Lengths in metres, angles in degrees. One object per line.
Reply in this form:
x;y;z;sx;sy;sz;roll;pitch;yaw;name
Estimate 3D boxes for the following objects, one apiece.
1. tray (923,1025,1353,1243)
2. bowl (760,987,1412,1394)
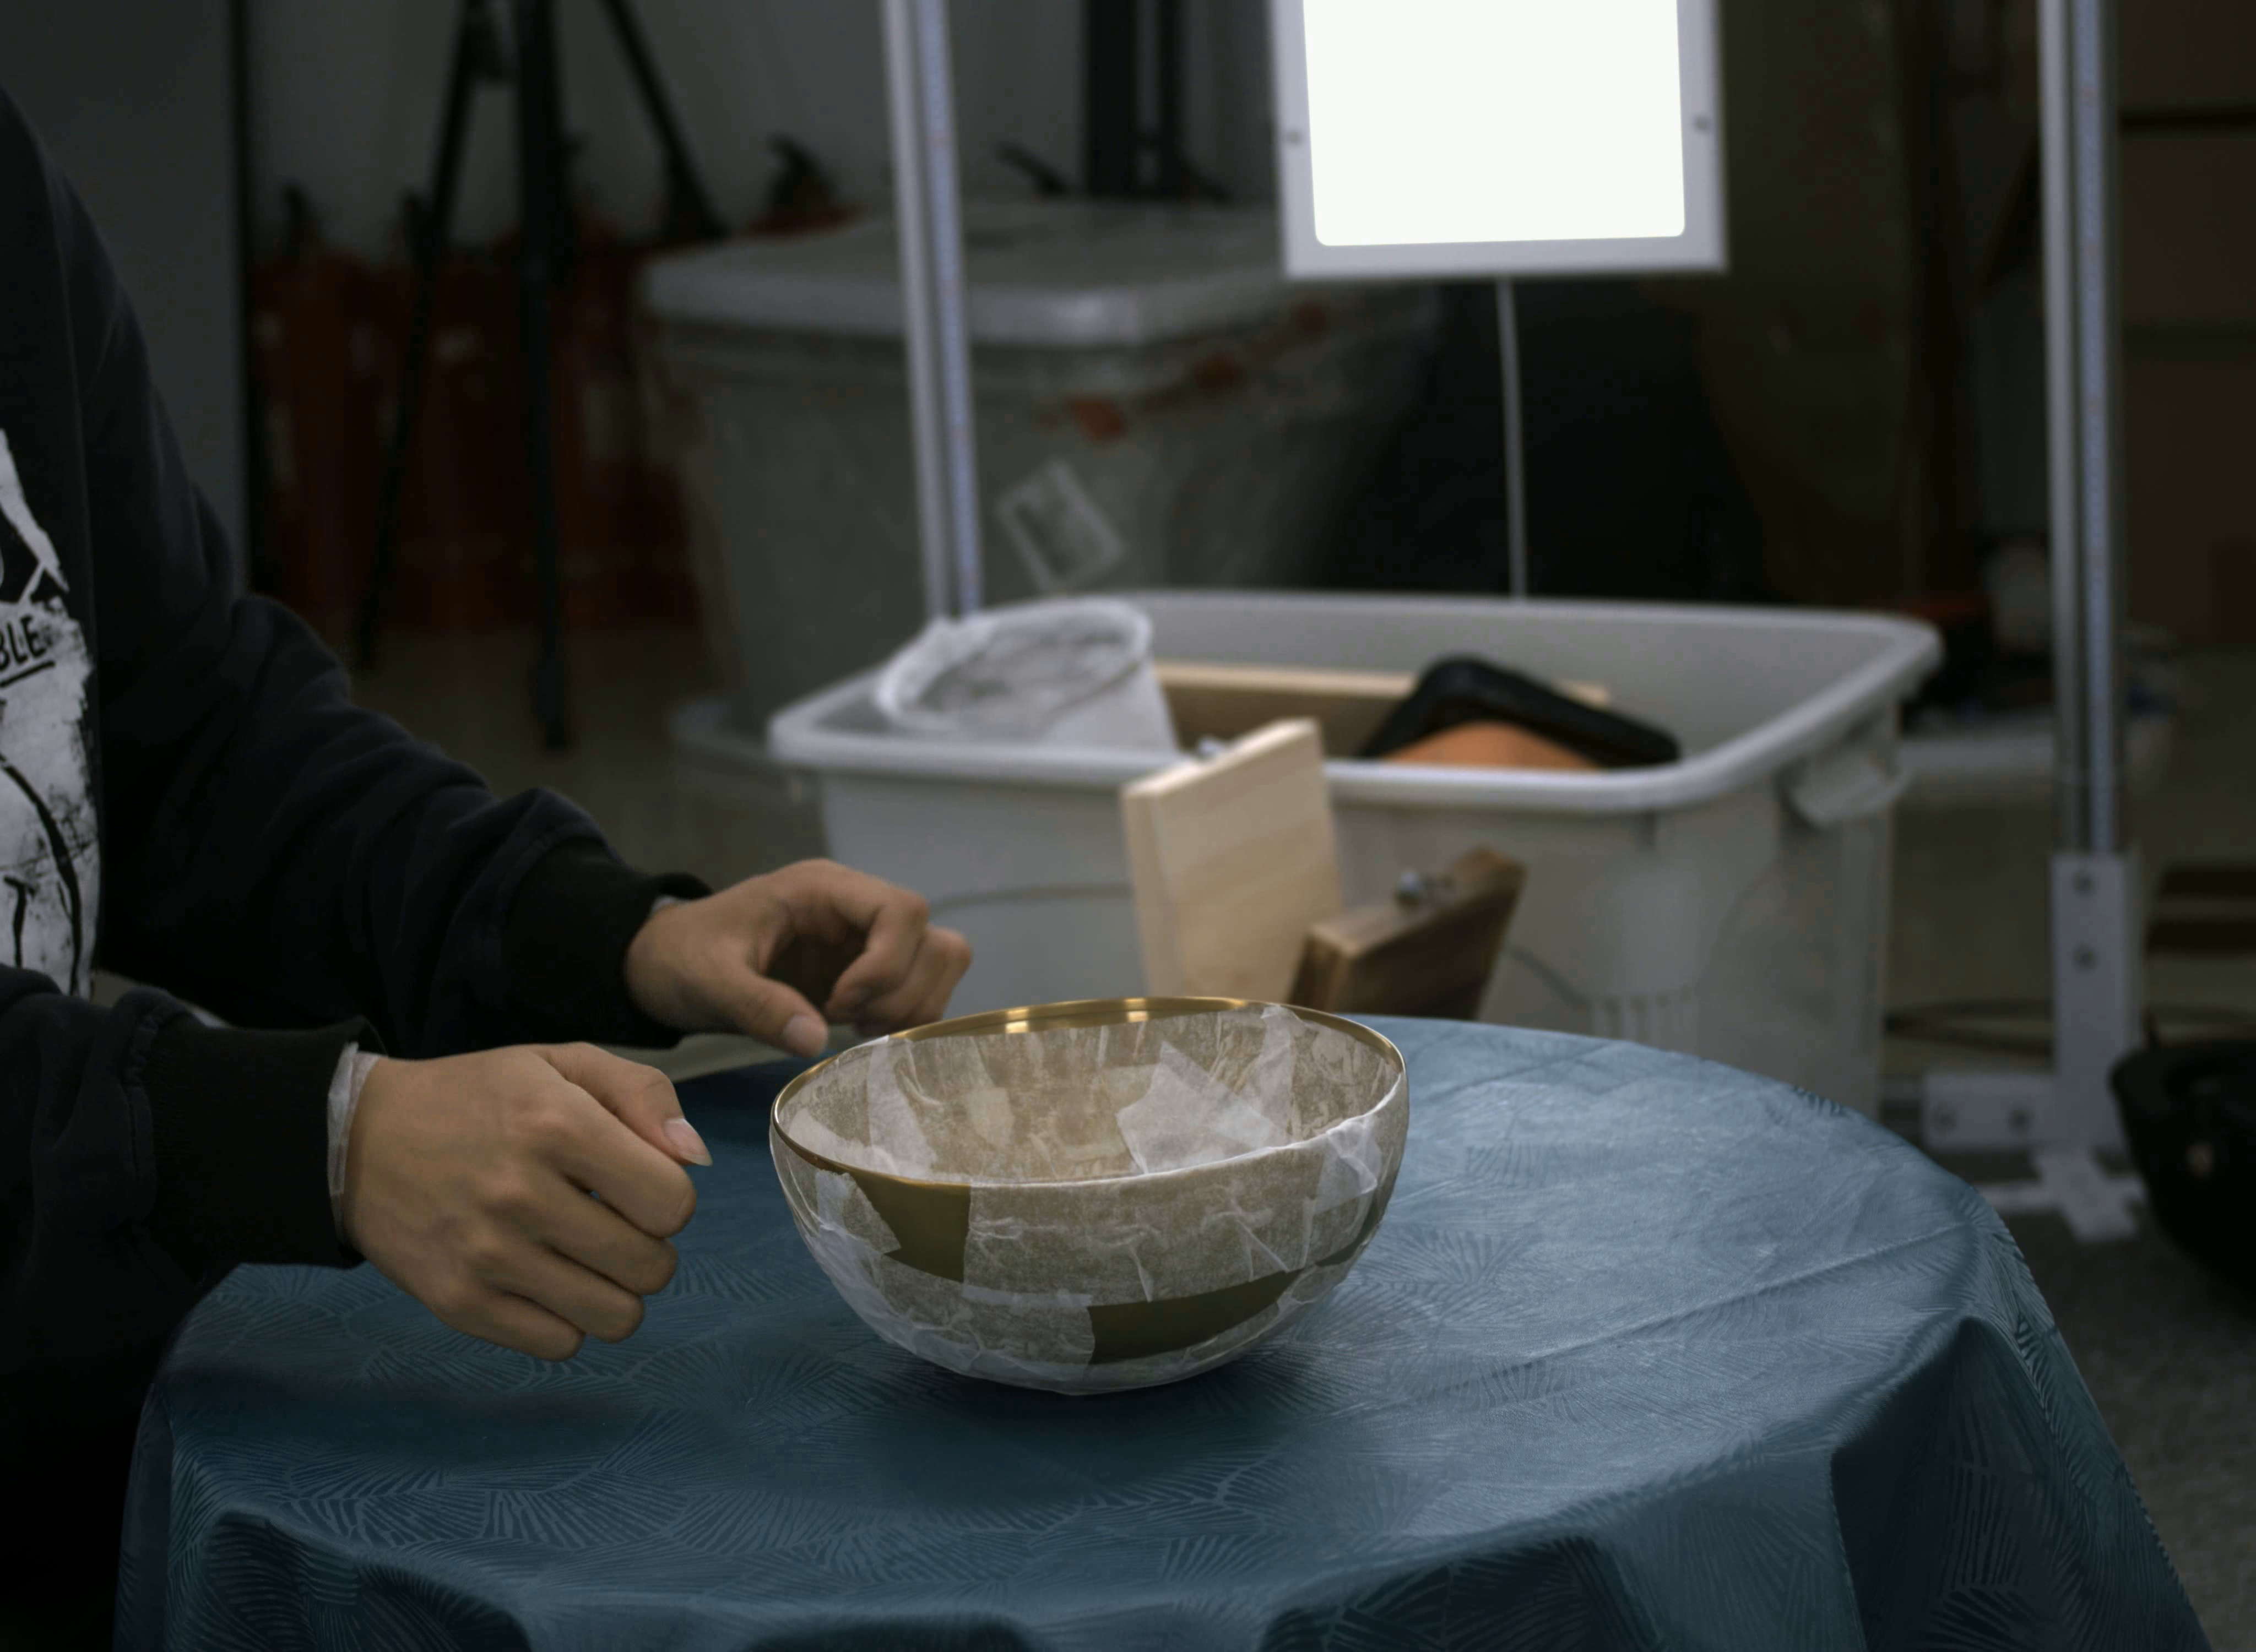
0.002;0.107;1.945;0.100;0.020;0.234;-12;17;-20;tray
-0.009;0.121;1.727;0.214;0.095;0.214;-6;15;0;bowl
